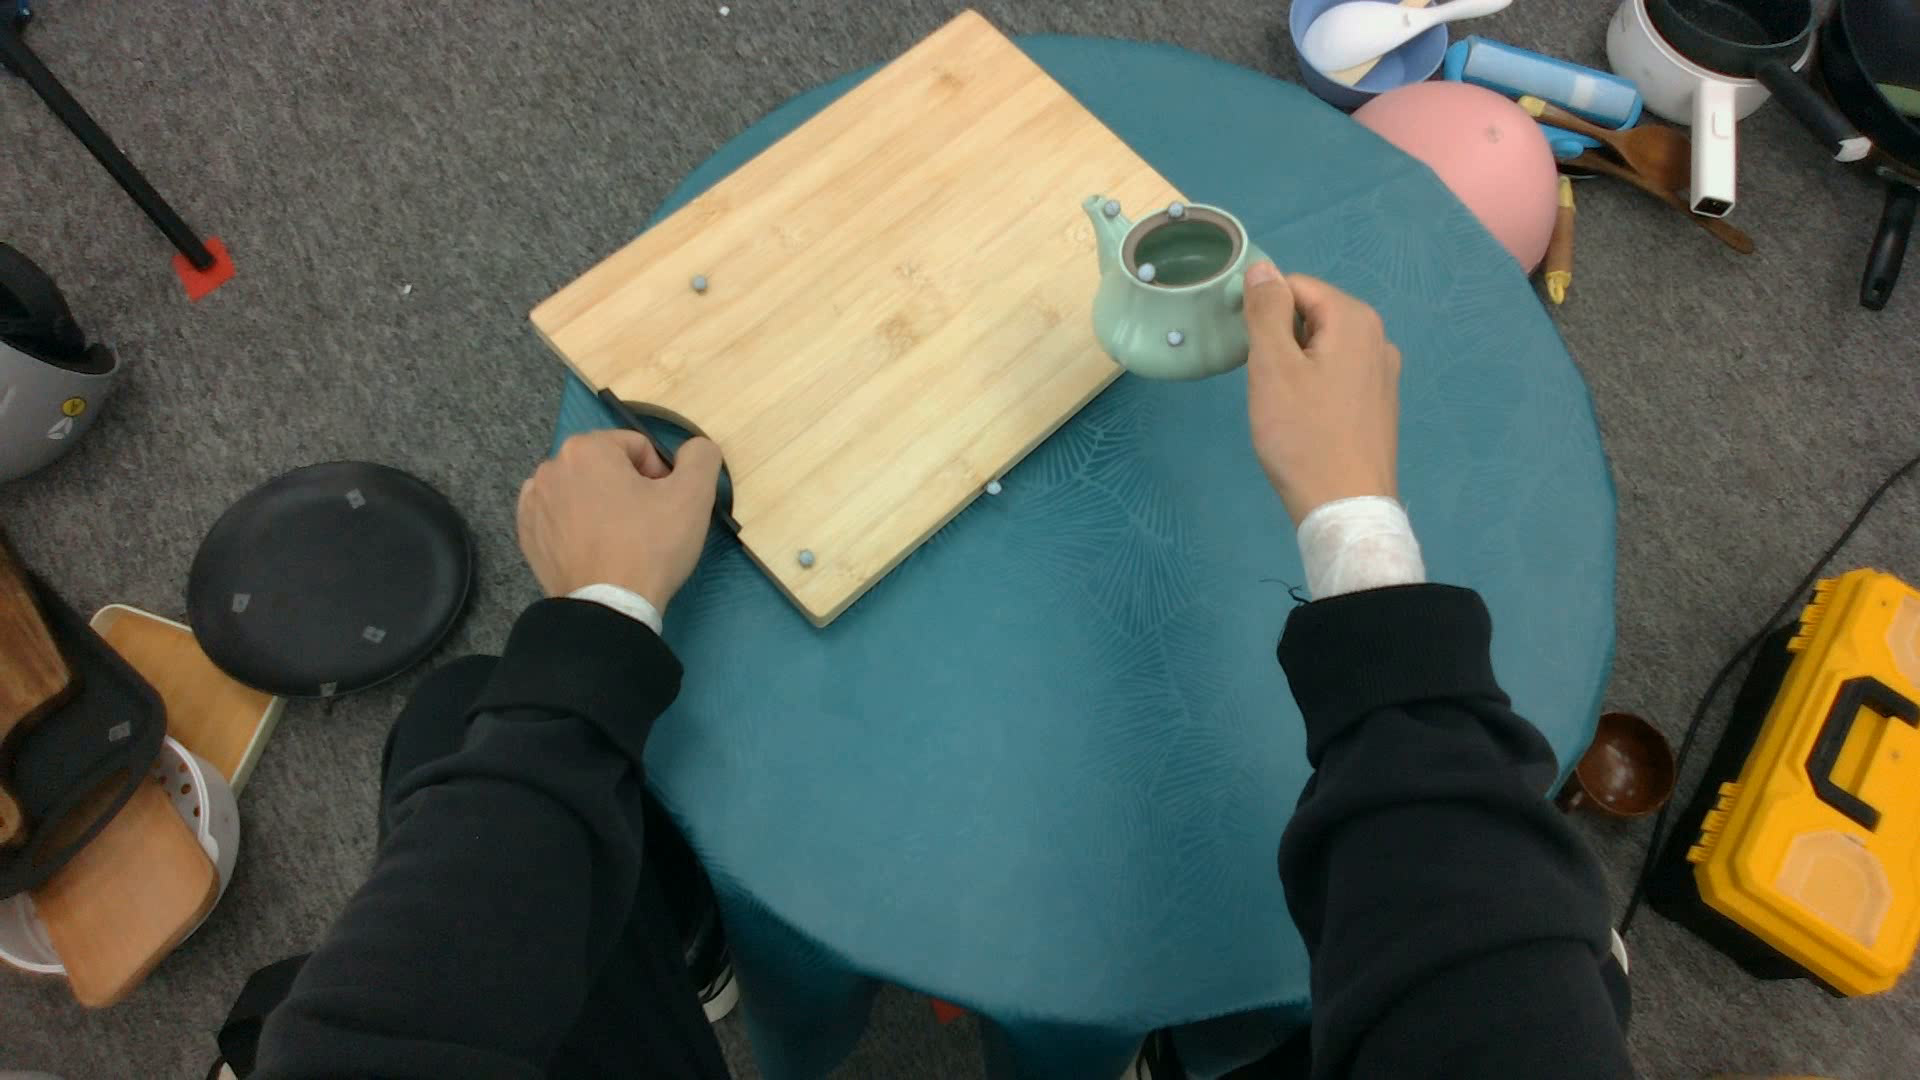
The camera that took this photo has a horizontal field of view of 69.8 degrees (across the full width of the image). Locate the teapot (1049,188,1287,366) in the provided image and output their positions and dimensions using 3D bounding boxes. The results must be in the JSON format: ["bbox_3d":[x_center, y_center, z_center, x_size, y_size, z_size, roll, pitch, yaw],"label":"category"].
[{"bbox_3d":[0.103,-0.131,0.681,0.137,0.061,0.096,31,65,34],"label":"teapot"}]

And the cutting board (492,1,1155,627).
[{"bbox_3d":[-0.049,-0.146,0.791,0.251,0.023,0.350,43,70,12],"label":"cutting board"}]
